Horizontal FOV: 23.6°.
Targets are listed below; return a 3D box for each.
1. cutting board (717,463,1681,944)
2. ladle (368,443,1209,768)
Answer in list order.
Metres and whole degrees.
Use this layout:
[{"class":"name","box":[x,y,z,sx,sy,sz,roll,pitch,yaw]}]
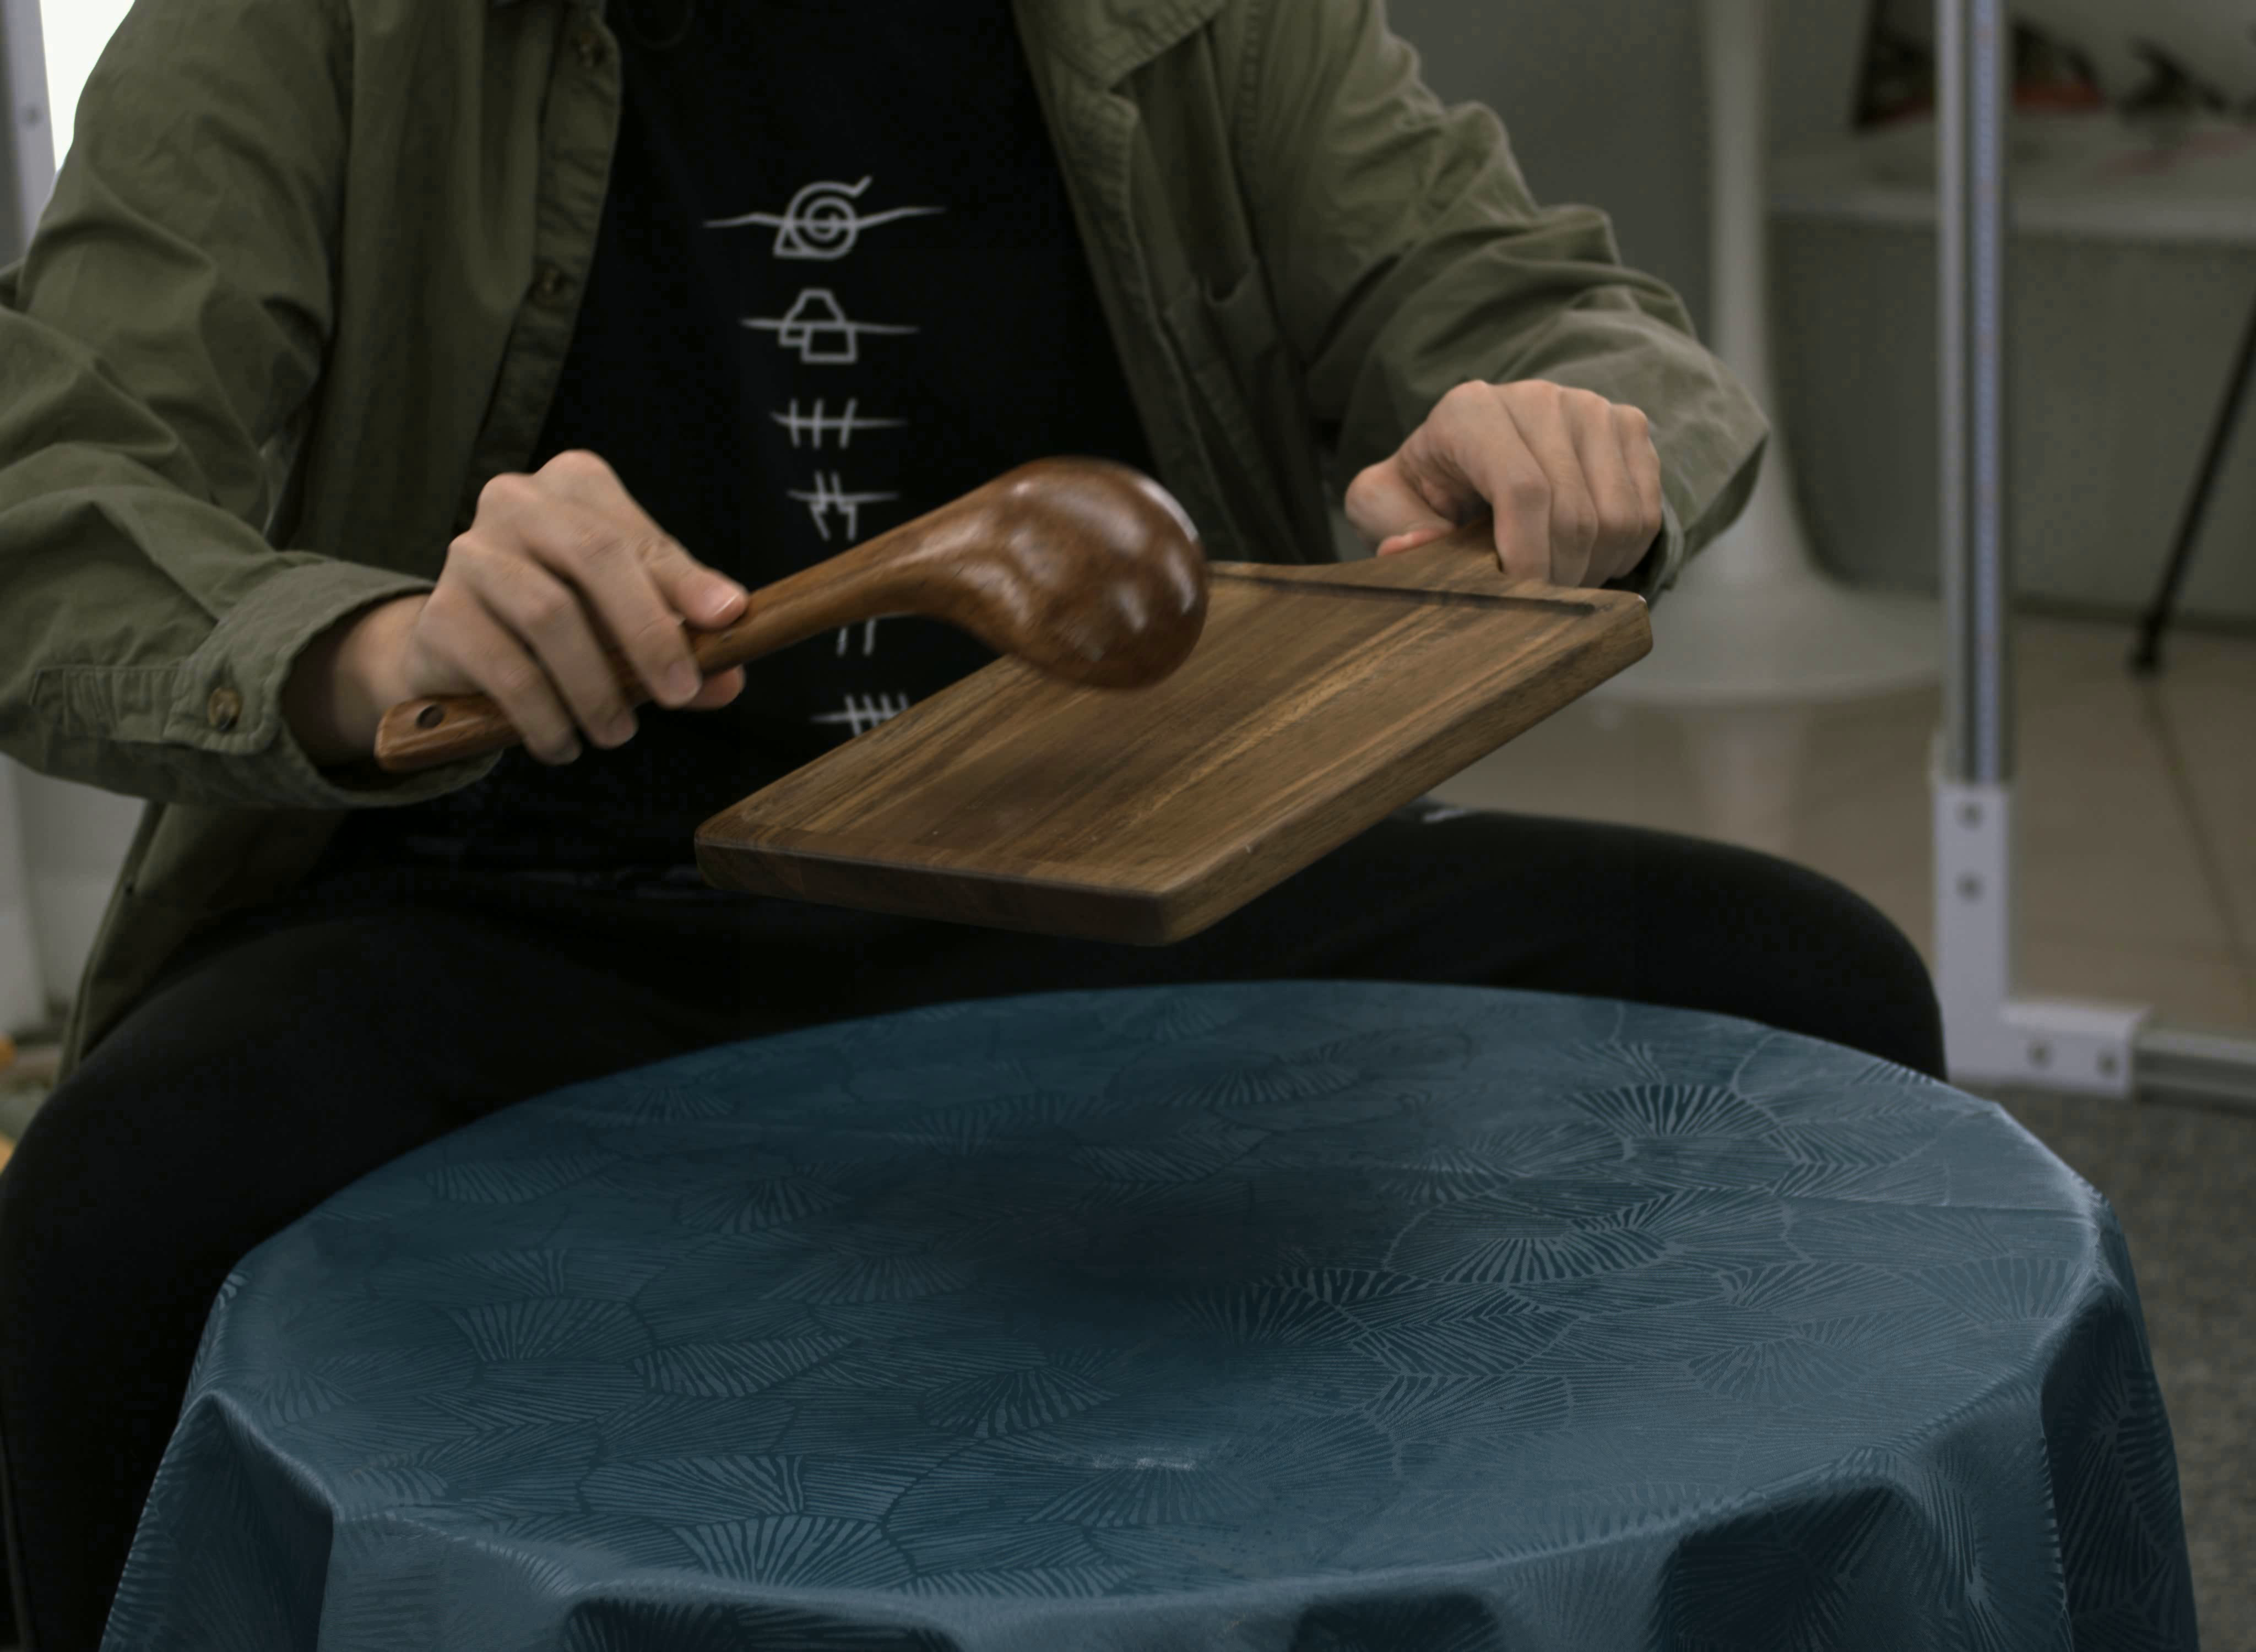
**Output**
[{"class":"cutting board","box":[0.055,-0.047,1.688,0.203,0.023,0.346,6,26,43]},{"class":"ladle","box":[-0.103,-0.051,1.665,0.275,0.076,0.082,-19,44,26]}]
